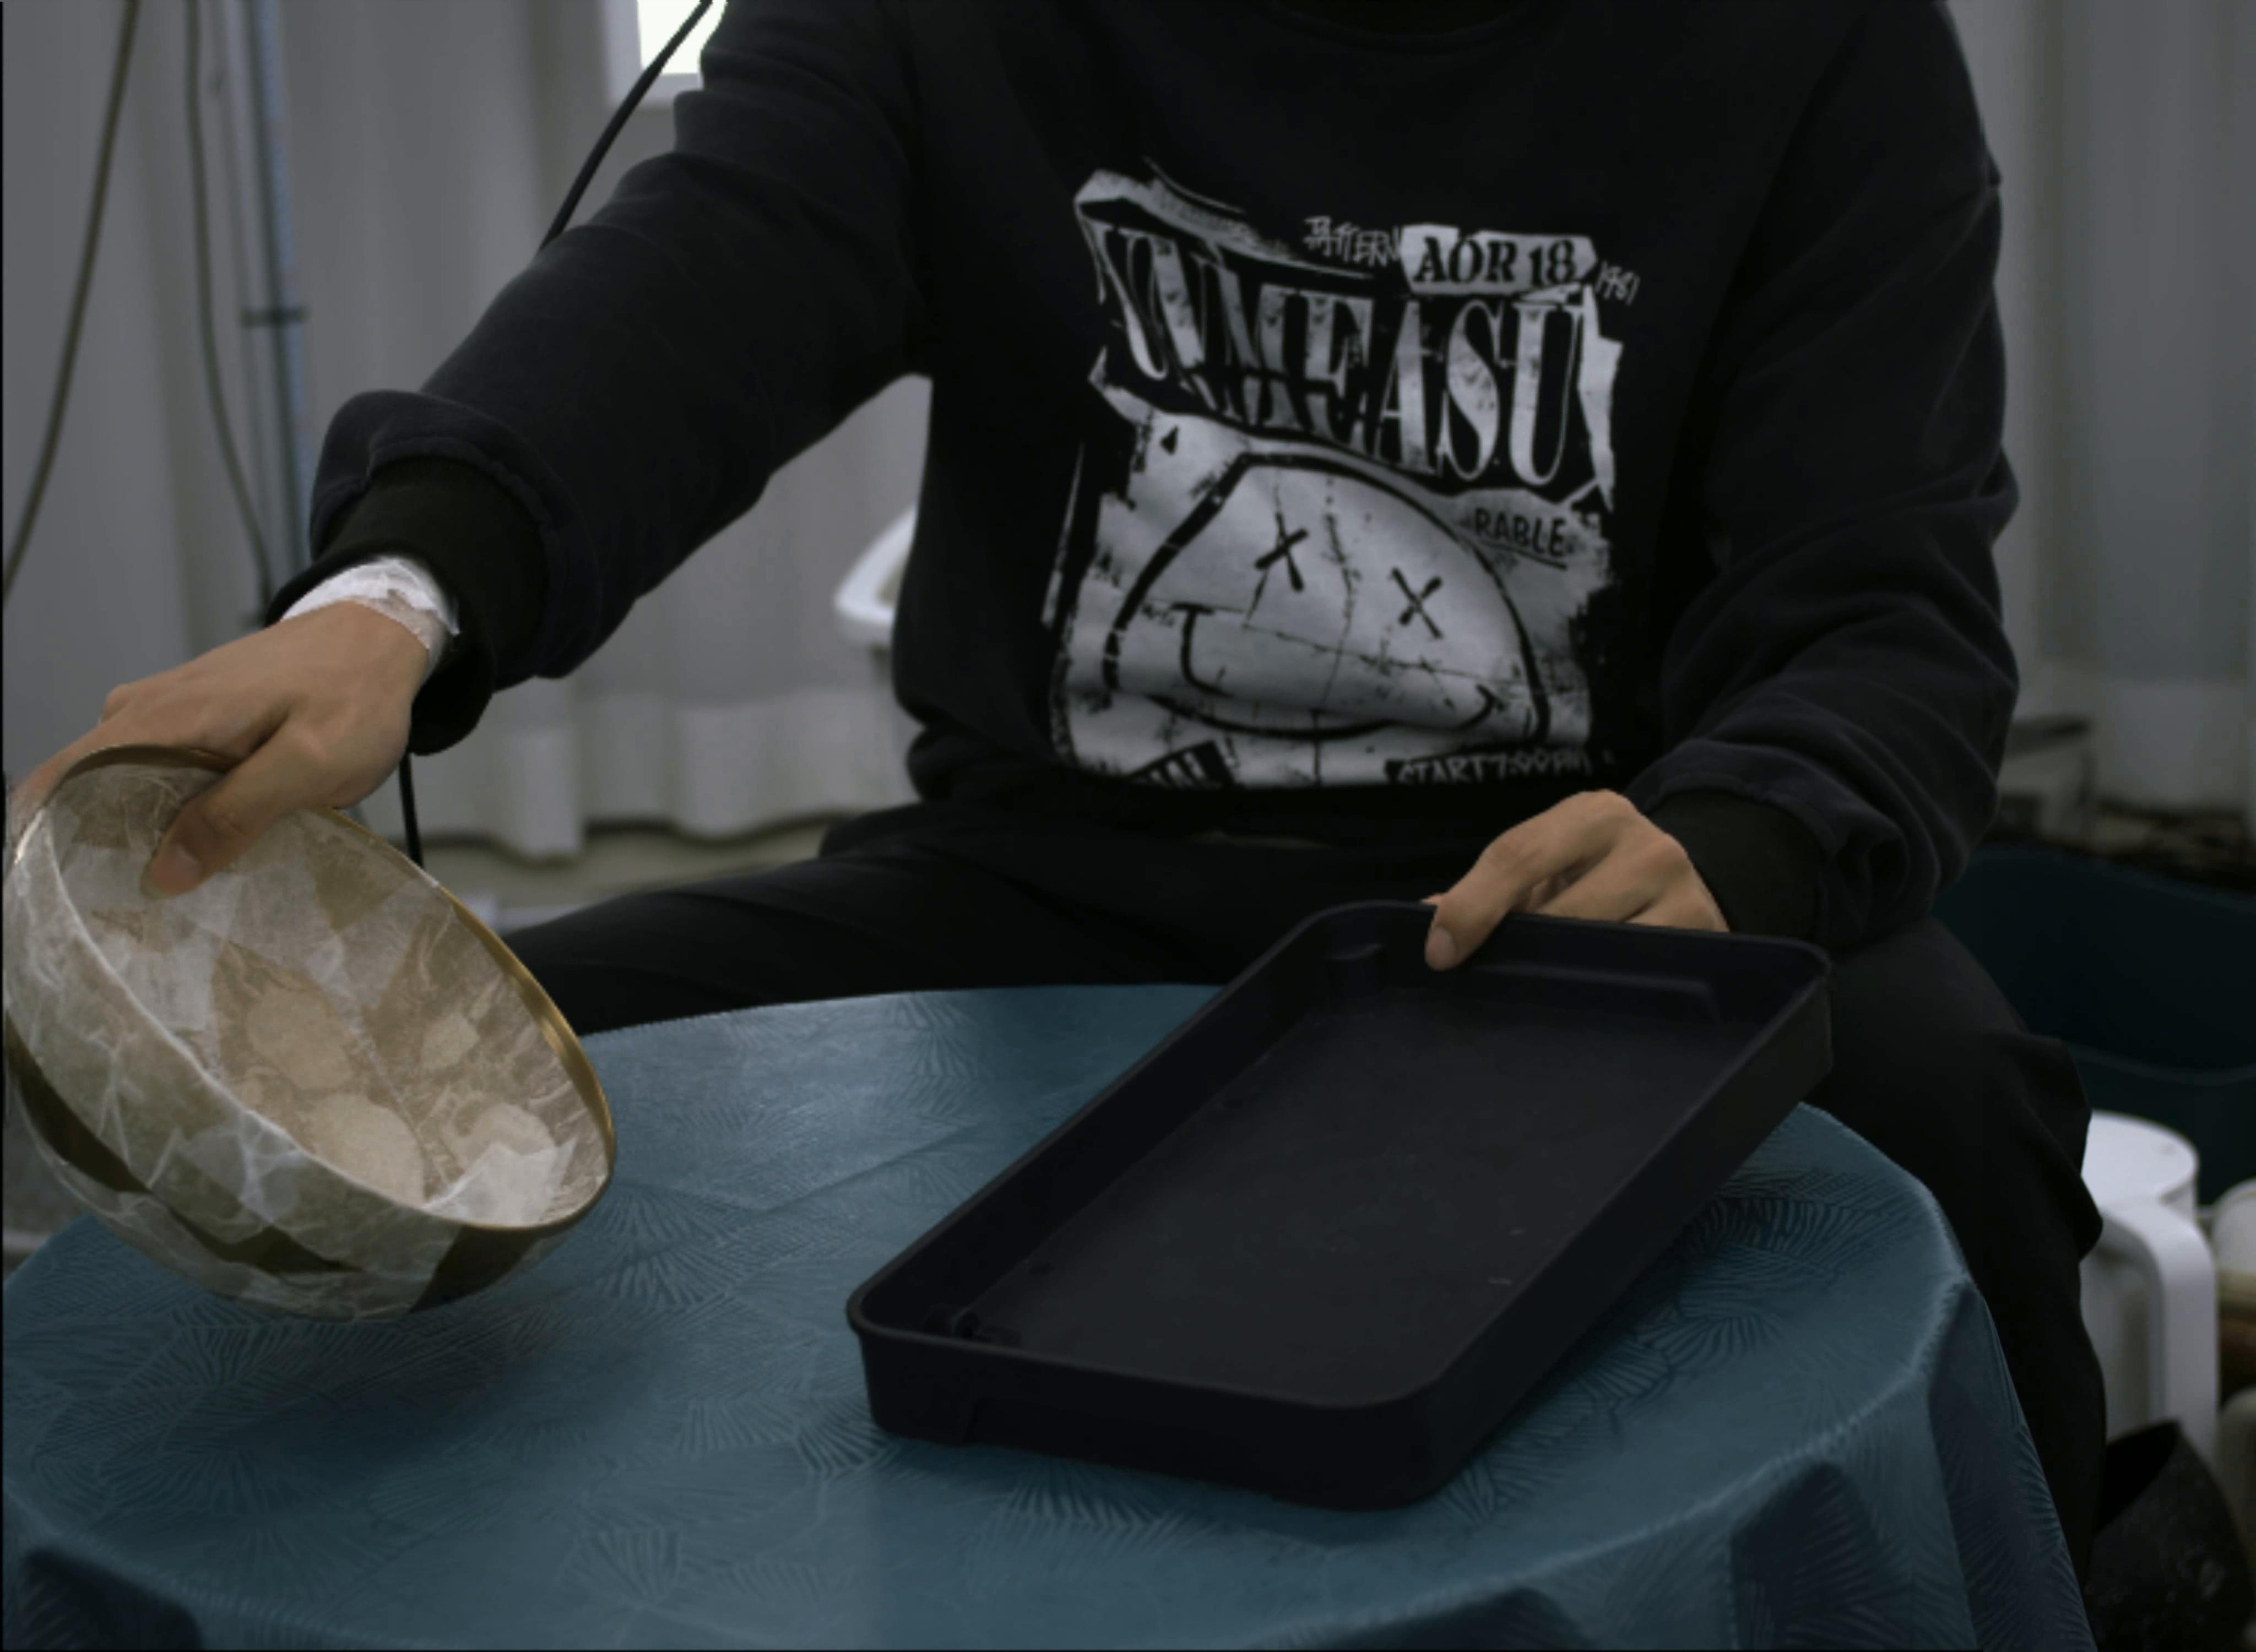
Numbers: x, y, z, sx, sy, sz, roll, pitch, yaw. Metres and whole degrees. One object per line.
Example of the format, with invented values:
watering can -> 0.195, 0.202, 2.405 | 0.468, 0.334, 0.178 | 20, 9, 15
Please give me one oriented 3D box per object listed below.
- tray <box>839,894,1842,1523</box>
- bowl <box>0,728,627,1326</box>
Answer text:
tray -> 0.070, 0.104, 1.602 | 0.185, 0.037, 0.319 | 6, 25, 30
bowl -> -0.252, 0.076, 1.598 | 0.213, 0.094, 0.217 | 35, 19, -14
